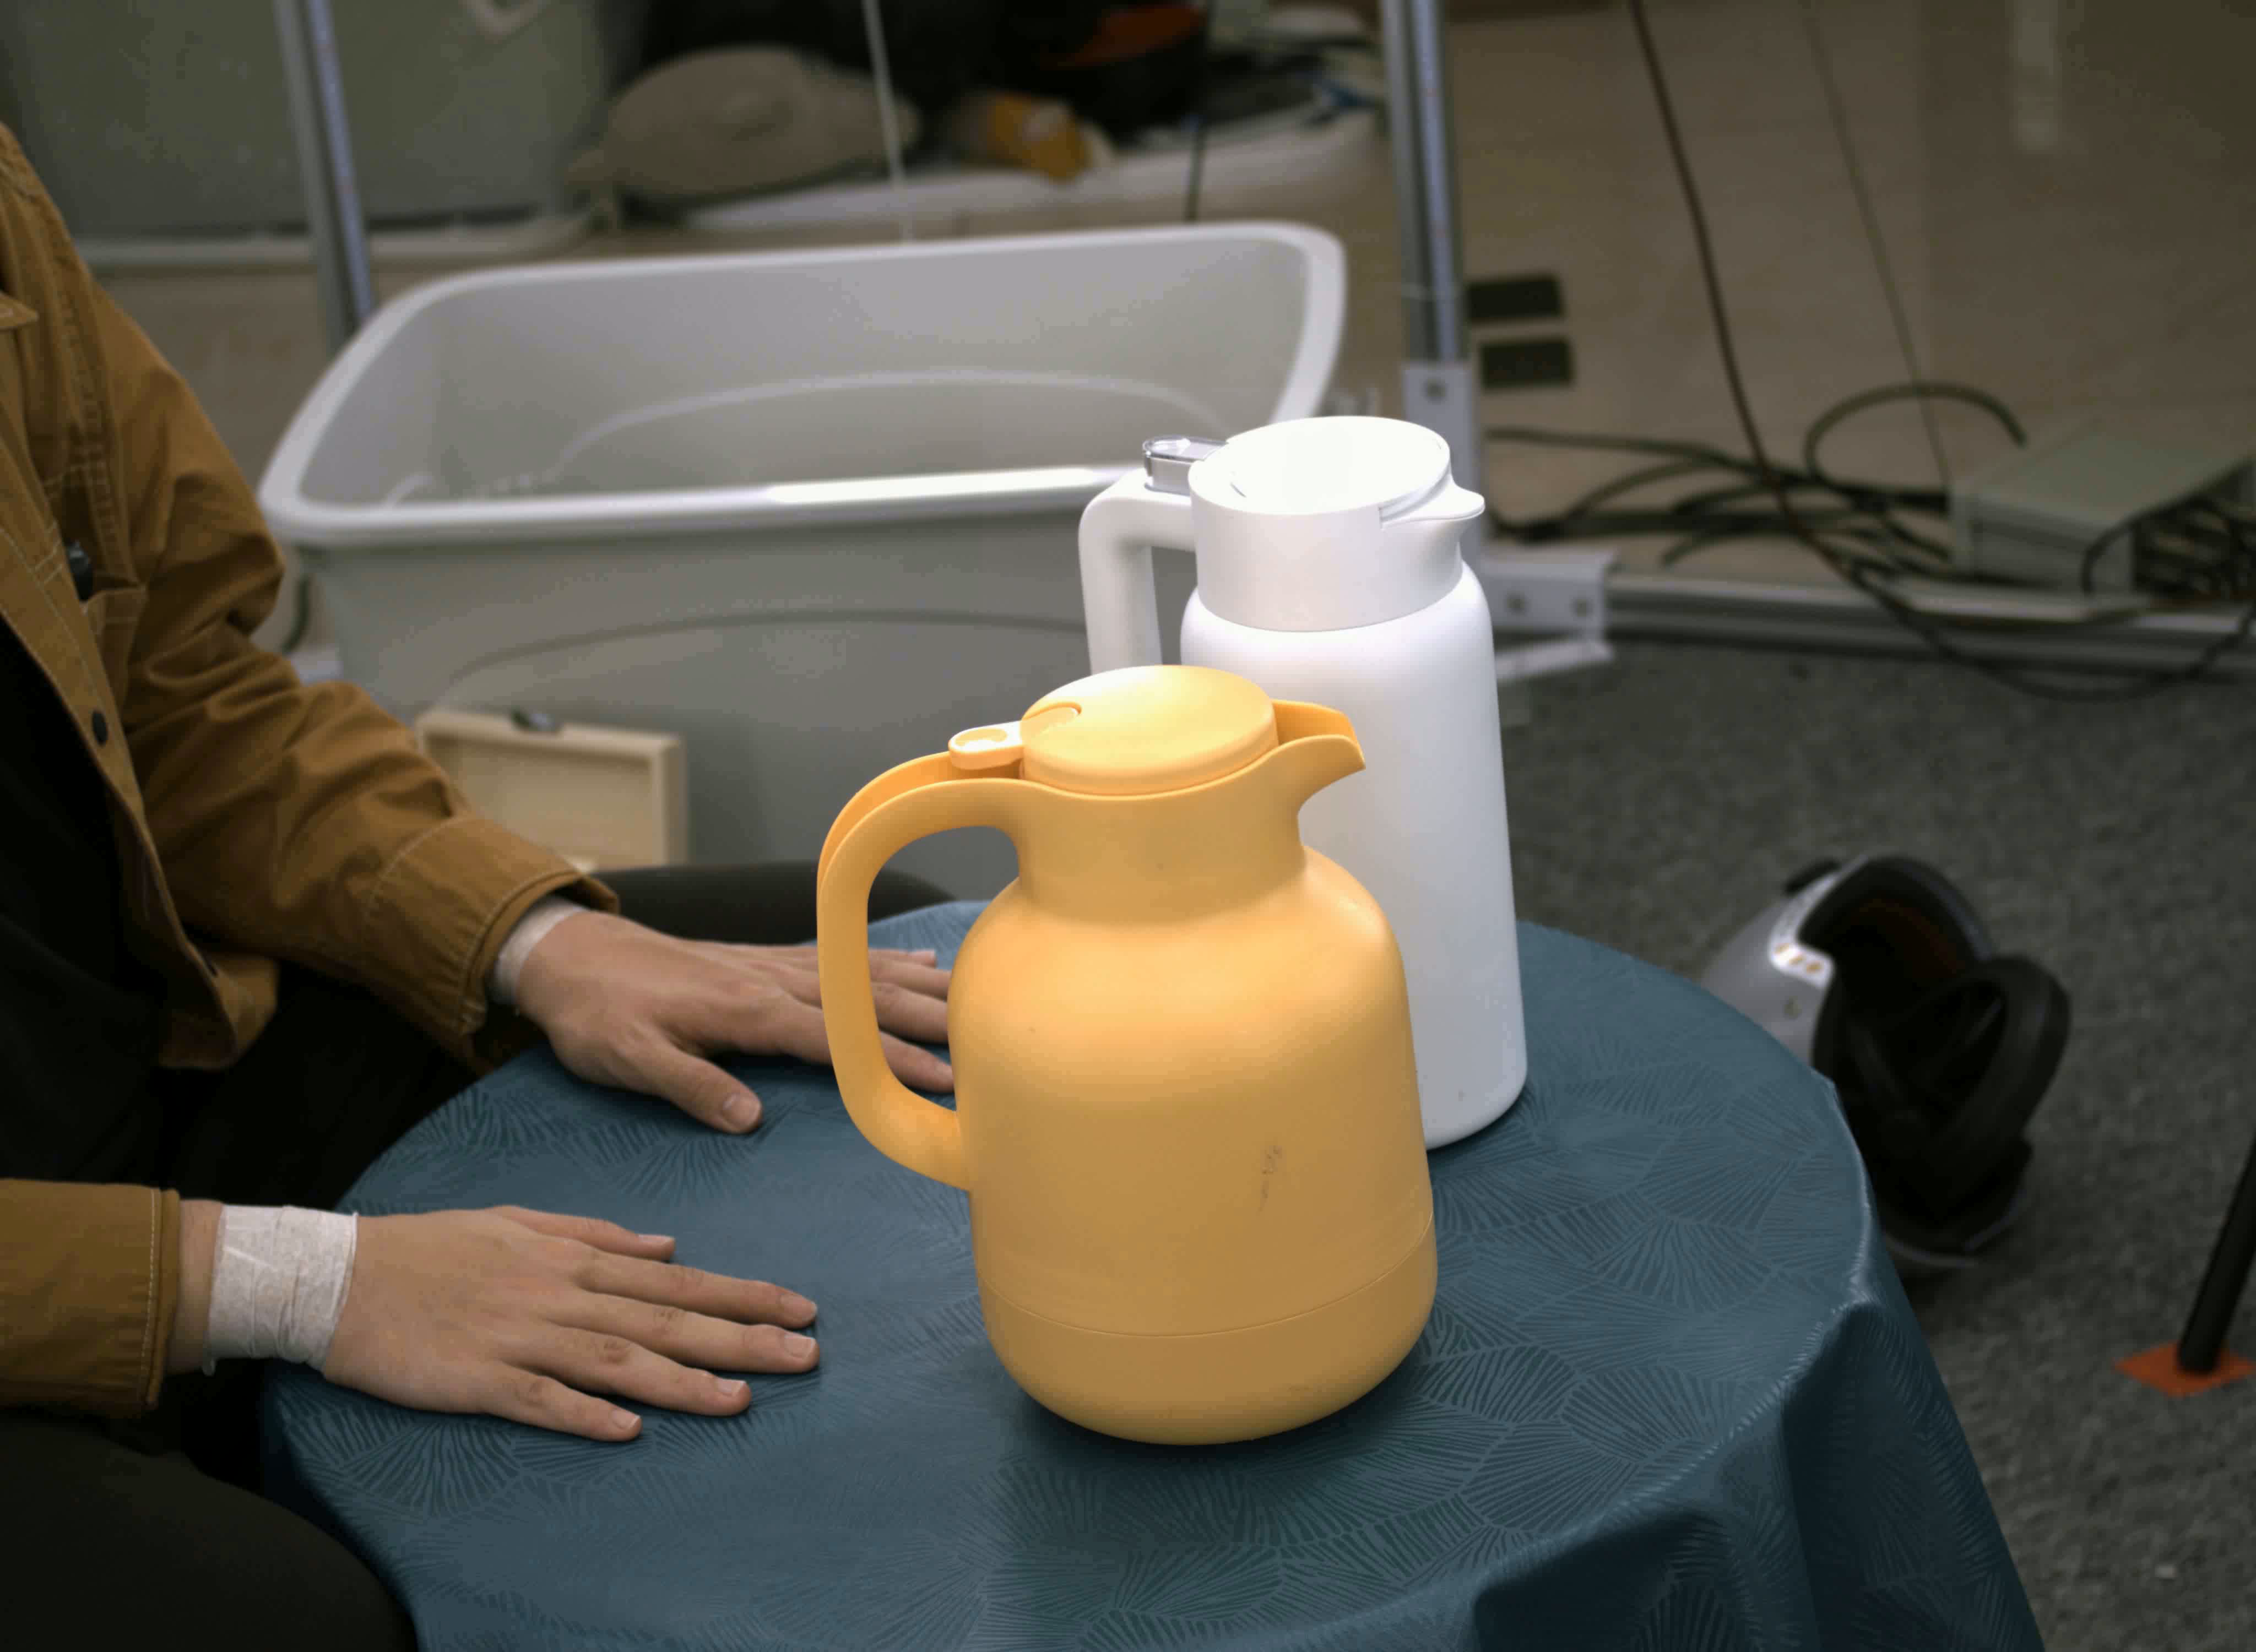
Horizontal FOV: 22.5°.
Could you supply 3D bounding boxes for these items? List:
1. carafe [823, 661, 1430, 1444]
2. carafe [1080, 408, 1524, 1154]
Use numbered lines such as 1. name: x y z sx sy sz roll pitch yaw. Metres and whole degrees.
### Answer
1. carafe: -0.001 0.075 1.970 0.202 0.264 0.161 -5 23 1
2. carafe: 0.068 -0.017 2.146 0.172 0.273 0.122 10 32 30
